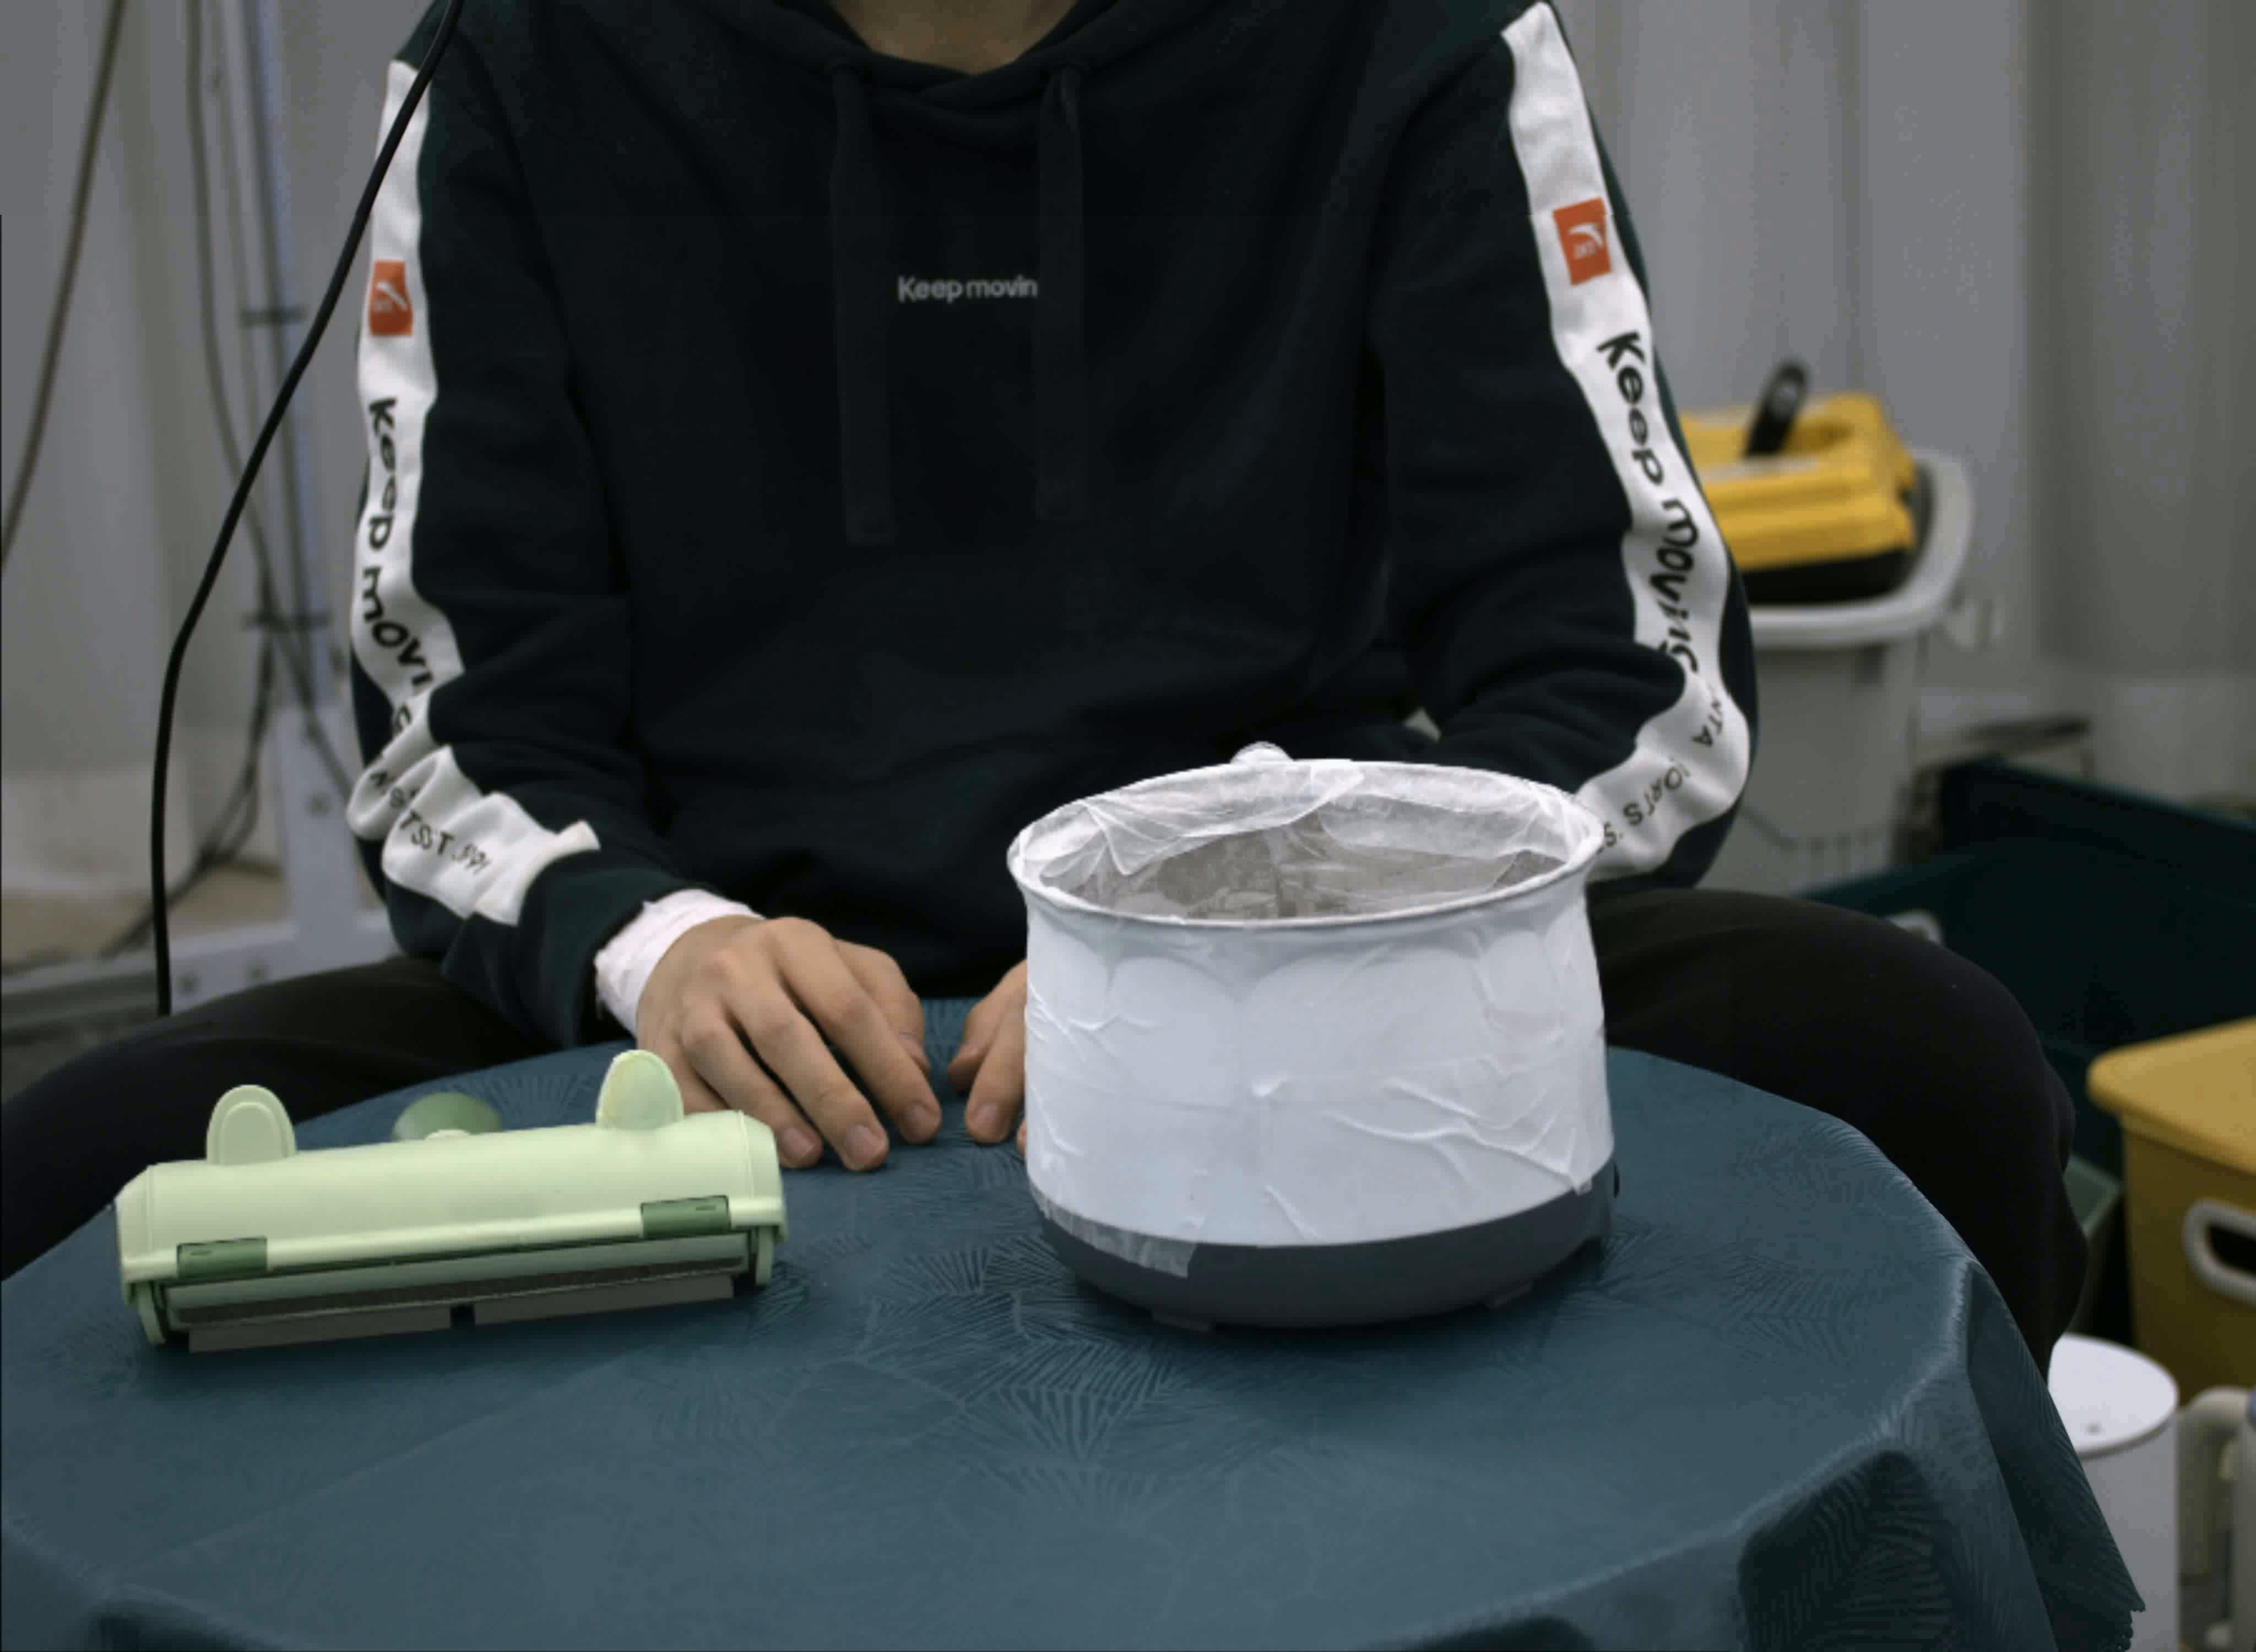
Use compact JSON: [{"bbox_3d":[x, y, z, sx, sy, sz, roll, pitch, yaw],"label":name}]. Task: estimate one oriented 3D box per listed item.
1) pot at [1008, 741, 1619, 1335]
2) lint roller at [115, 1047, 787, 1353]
[{"bbox_3d":[0.053,0.058,1.652,0.178,0.136,0.235,-4,15,-6],"label":"pot"},{"bbox_3d":[-0.210,0.096,1.683,0.198,0.081,0.185,-5,20,-7],"label":"lint roller"}]
